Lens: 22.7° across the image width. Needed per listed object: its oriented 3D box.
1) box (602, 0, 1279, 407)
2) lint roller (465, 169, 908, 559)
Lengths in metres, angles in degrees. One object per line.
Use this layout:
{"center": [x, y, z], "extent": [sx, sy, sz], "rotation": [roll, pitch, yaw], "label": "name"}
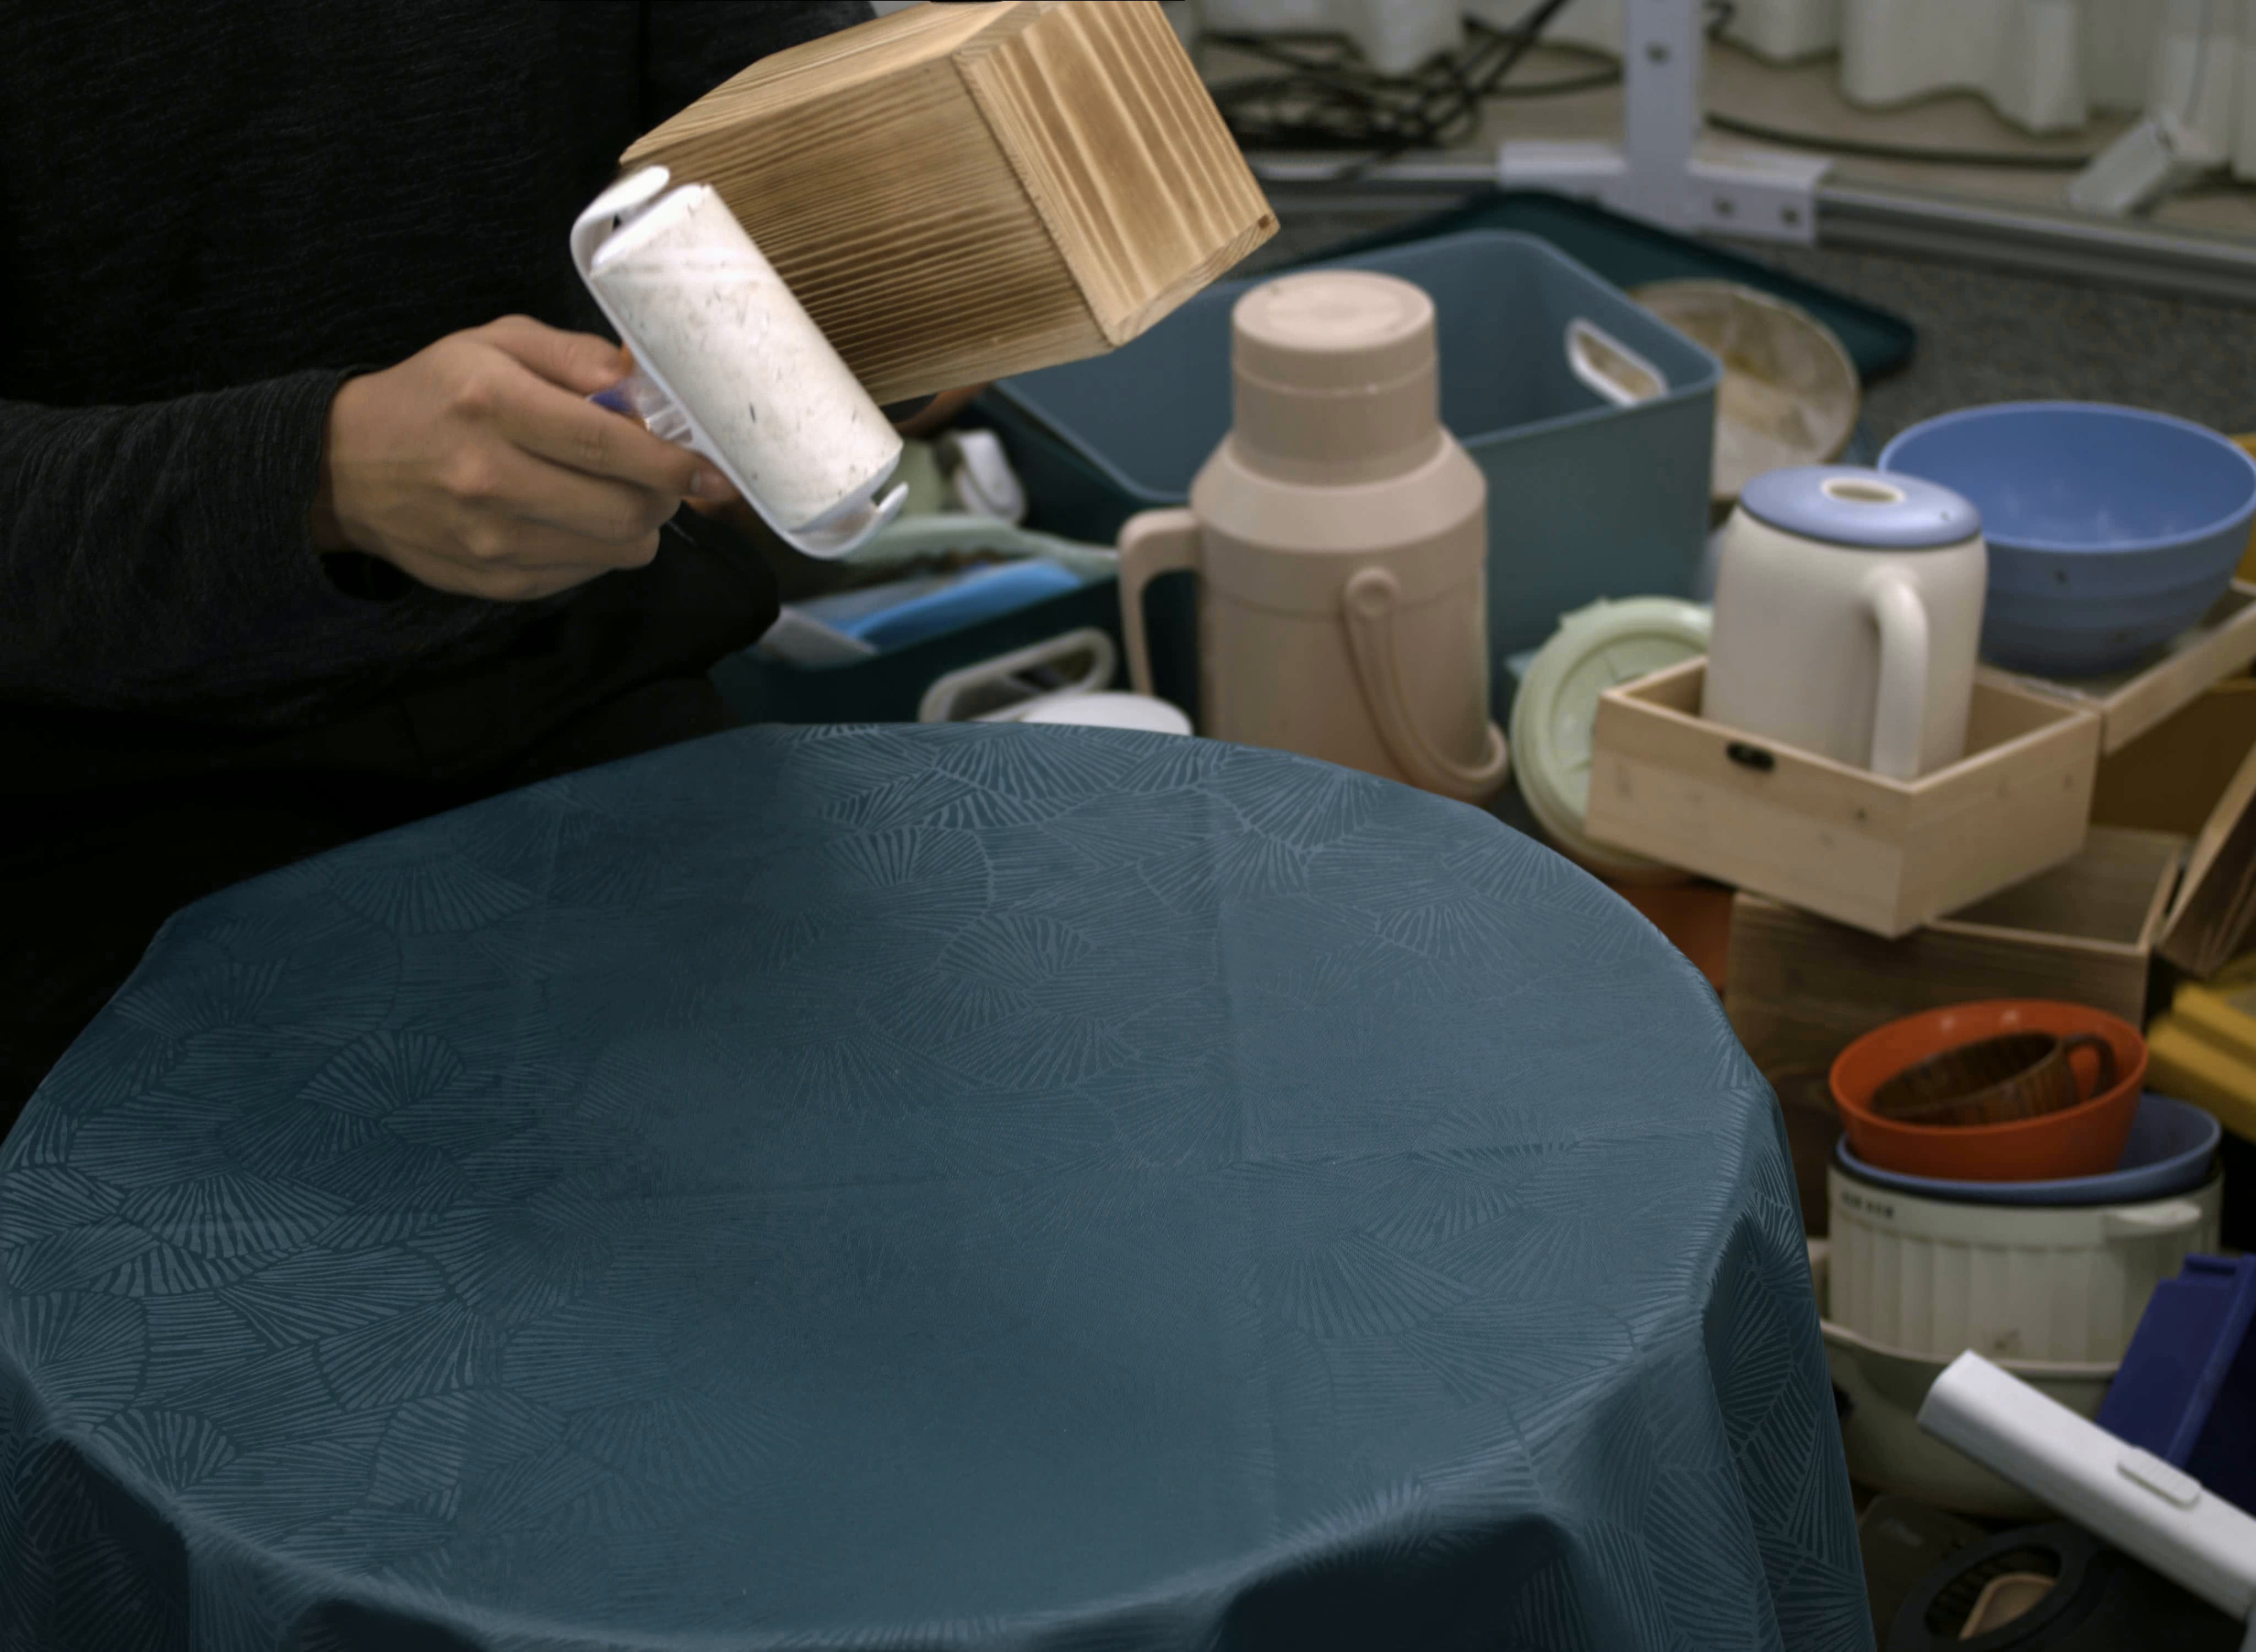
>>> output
{"center": [-0.063, -0.204, 1.813], "extent": [0.081, 0.107, 0.209], "rotation": [-39, 18, -32], "label": "box"}
{"center": [-0.161, -0.121, 1.763], "extent": [0.178, 0.132, 0.051], "rotation": [-26, 16, 39], "label": "lint roller"}
